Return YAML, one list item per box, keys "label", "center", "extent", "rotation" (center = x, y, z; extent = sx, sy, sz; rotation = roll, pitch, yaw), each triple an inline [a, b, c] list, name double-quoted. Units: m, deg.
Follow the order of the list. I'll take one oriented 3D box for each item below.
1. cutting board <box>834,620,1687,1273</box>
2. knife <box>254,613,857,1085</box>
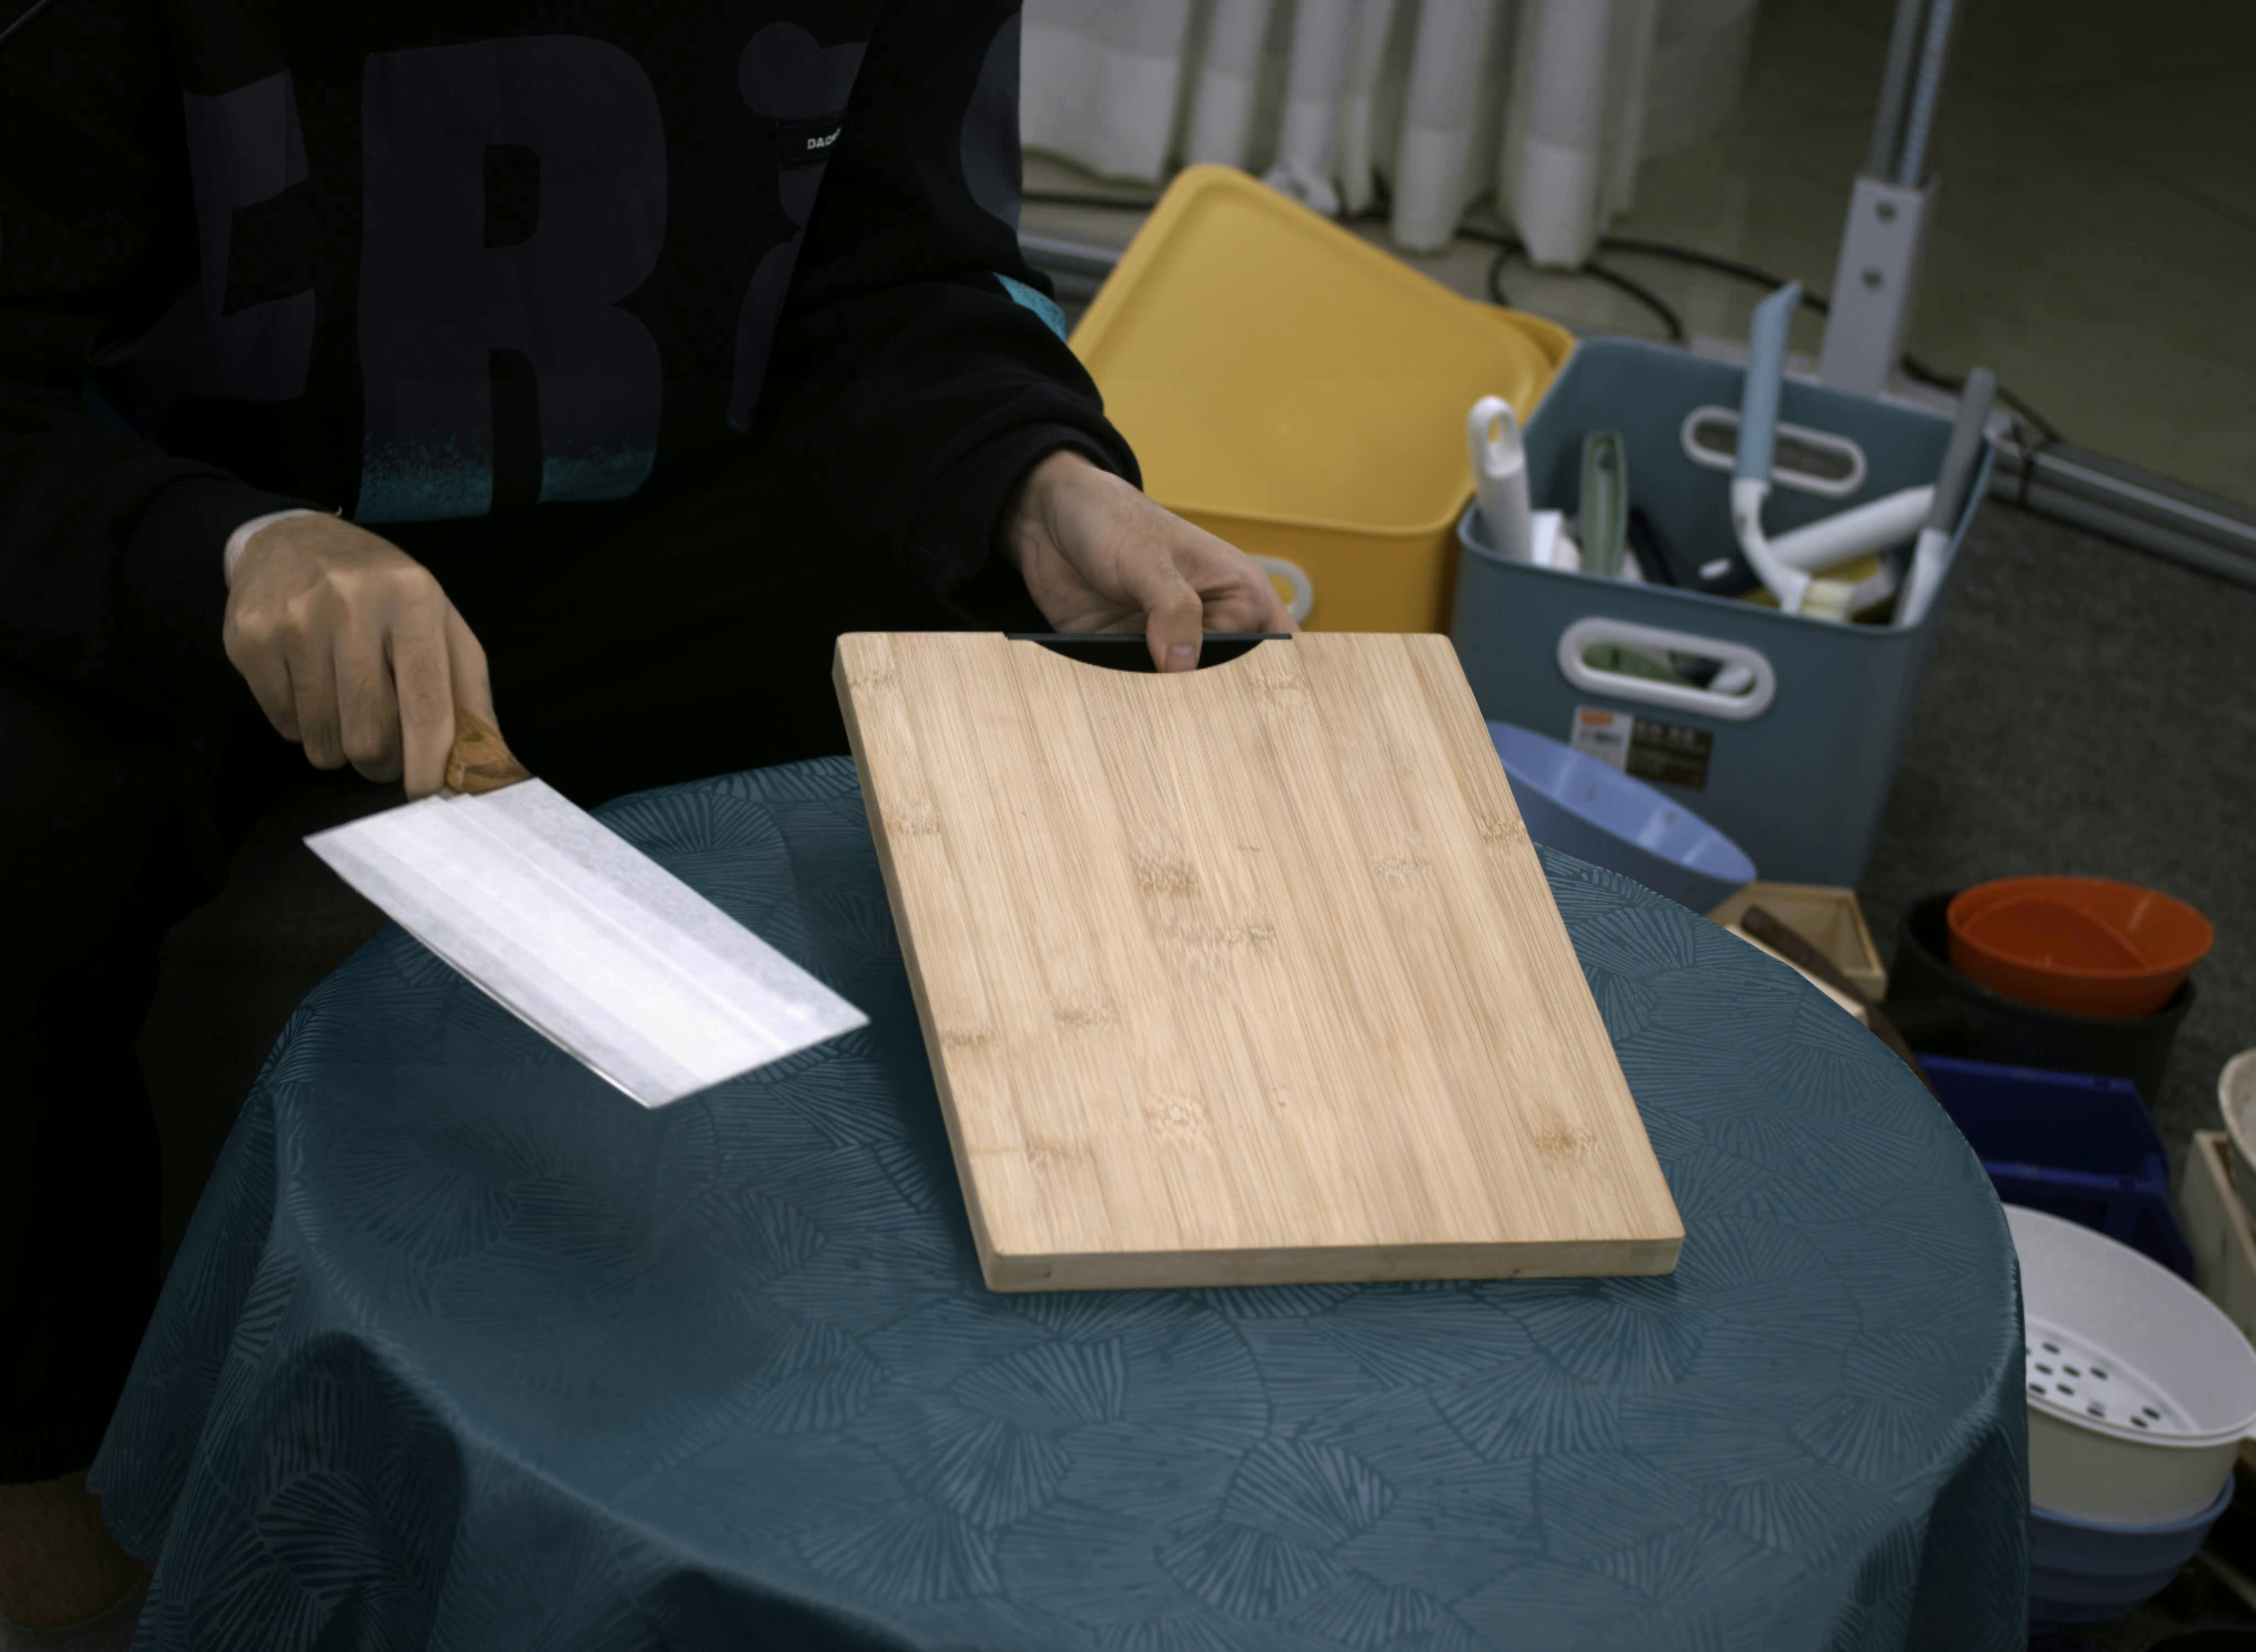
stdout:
- label: "cutting board"
  center: [0.038, 0.037, 1.893]
  extent: [0.249, 0.023, 0.352]
  rotation: [-1, 38, -14]
- label: "knife"
  center: [-0.215, 0.007, 1.767]
  extent: [0.092, 0.021, 0.308]
  rotation: [-20, 39, -37]
